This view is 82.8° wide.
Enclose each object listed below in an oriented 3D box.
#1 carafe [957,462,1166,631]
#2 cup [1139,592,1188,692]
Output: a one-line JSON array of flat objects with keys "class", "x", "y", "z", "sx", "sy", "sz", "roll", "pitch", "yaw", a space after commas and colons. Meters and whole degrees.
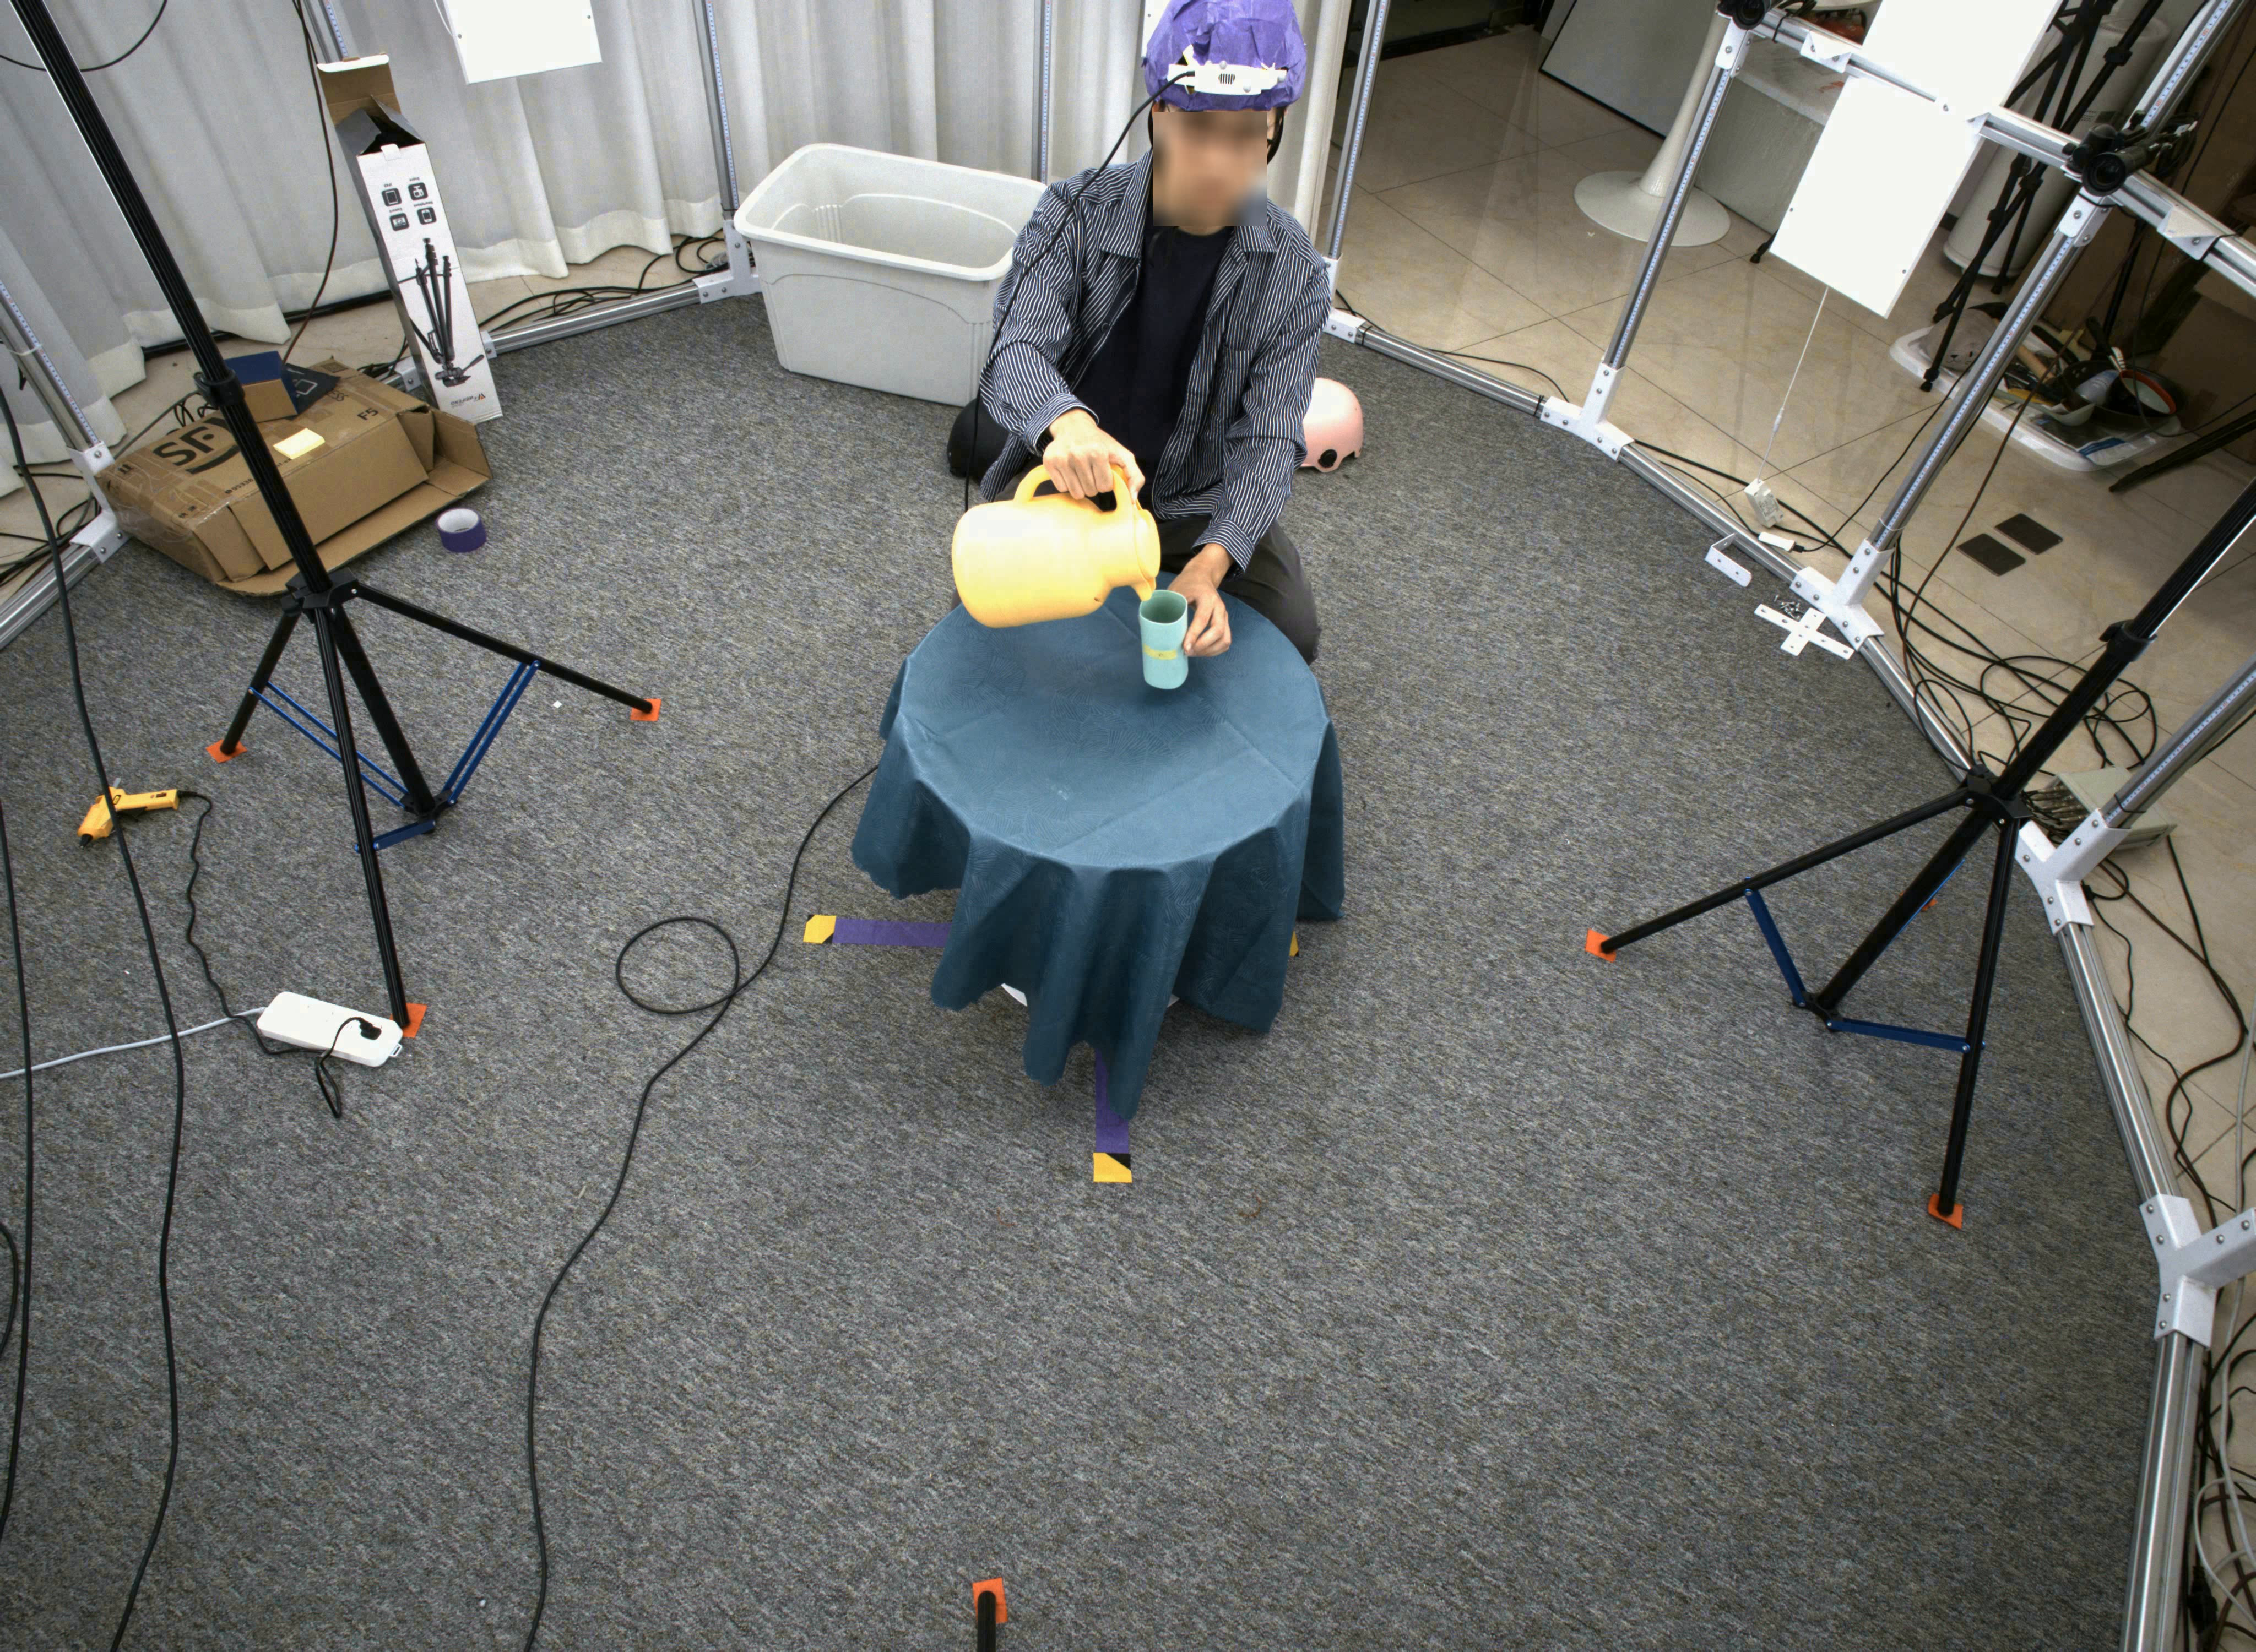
[{"class": "carafe", "x": -0.086, "y": -0.364, "z": 1.673, "sx": 0.260, "sy": 0.198, "sz": 0.167, "roll": -5, "pitch": 30, "yaw": 16}, {"class": "cup", "x": 0.051, "y": -0.251, "z": 1.750, "sx": 0.067, "sy": 0.129, "sz": 0.068, "roll": -2, "pitch": 53, "yaw": 2}]
